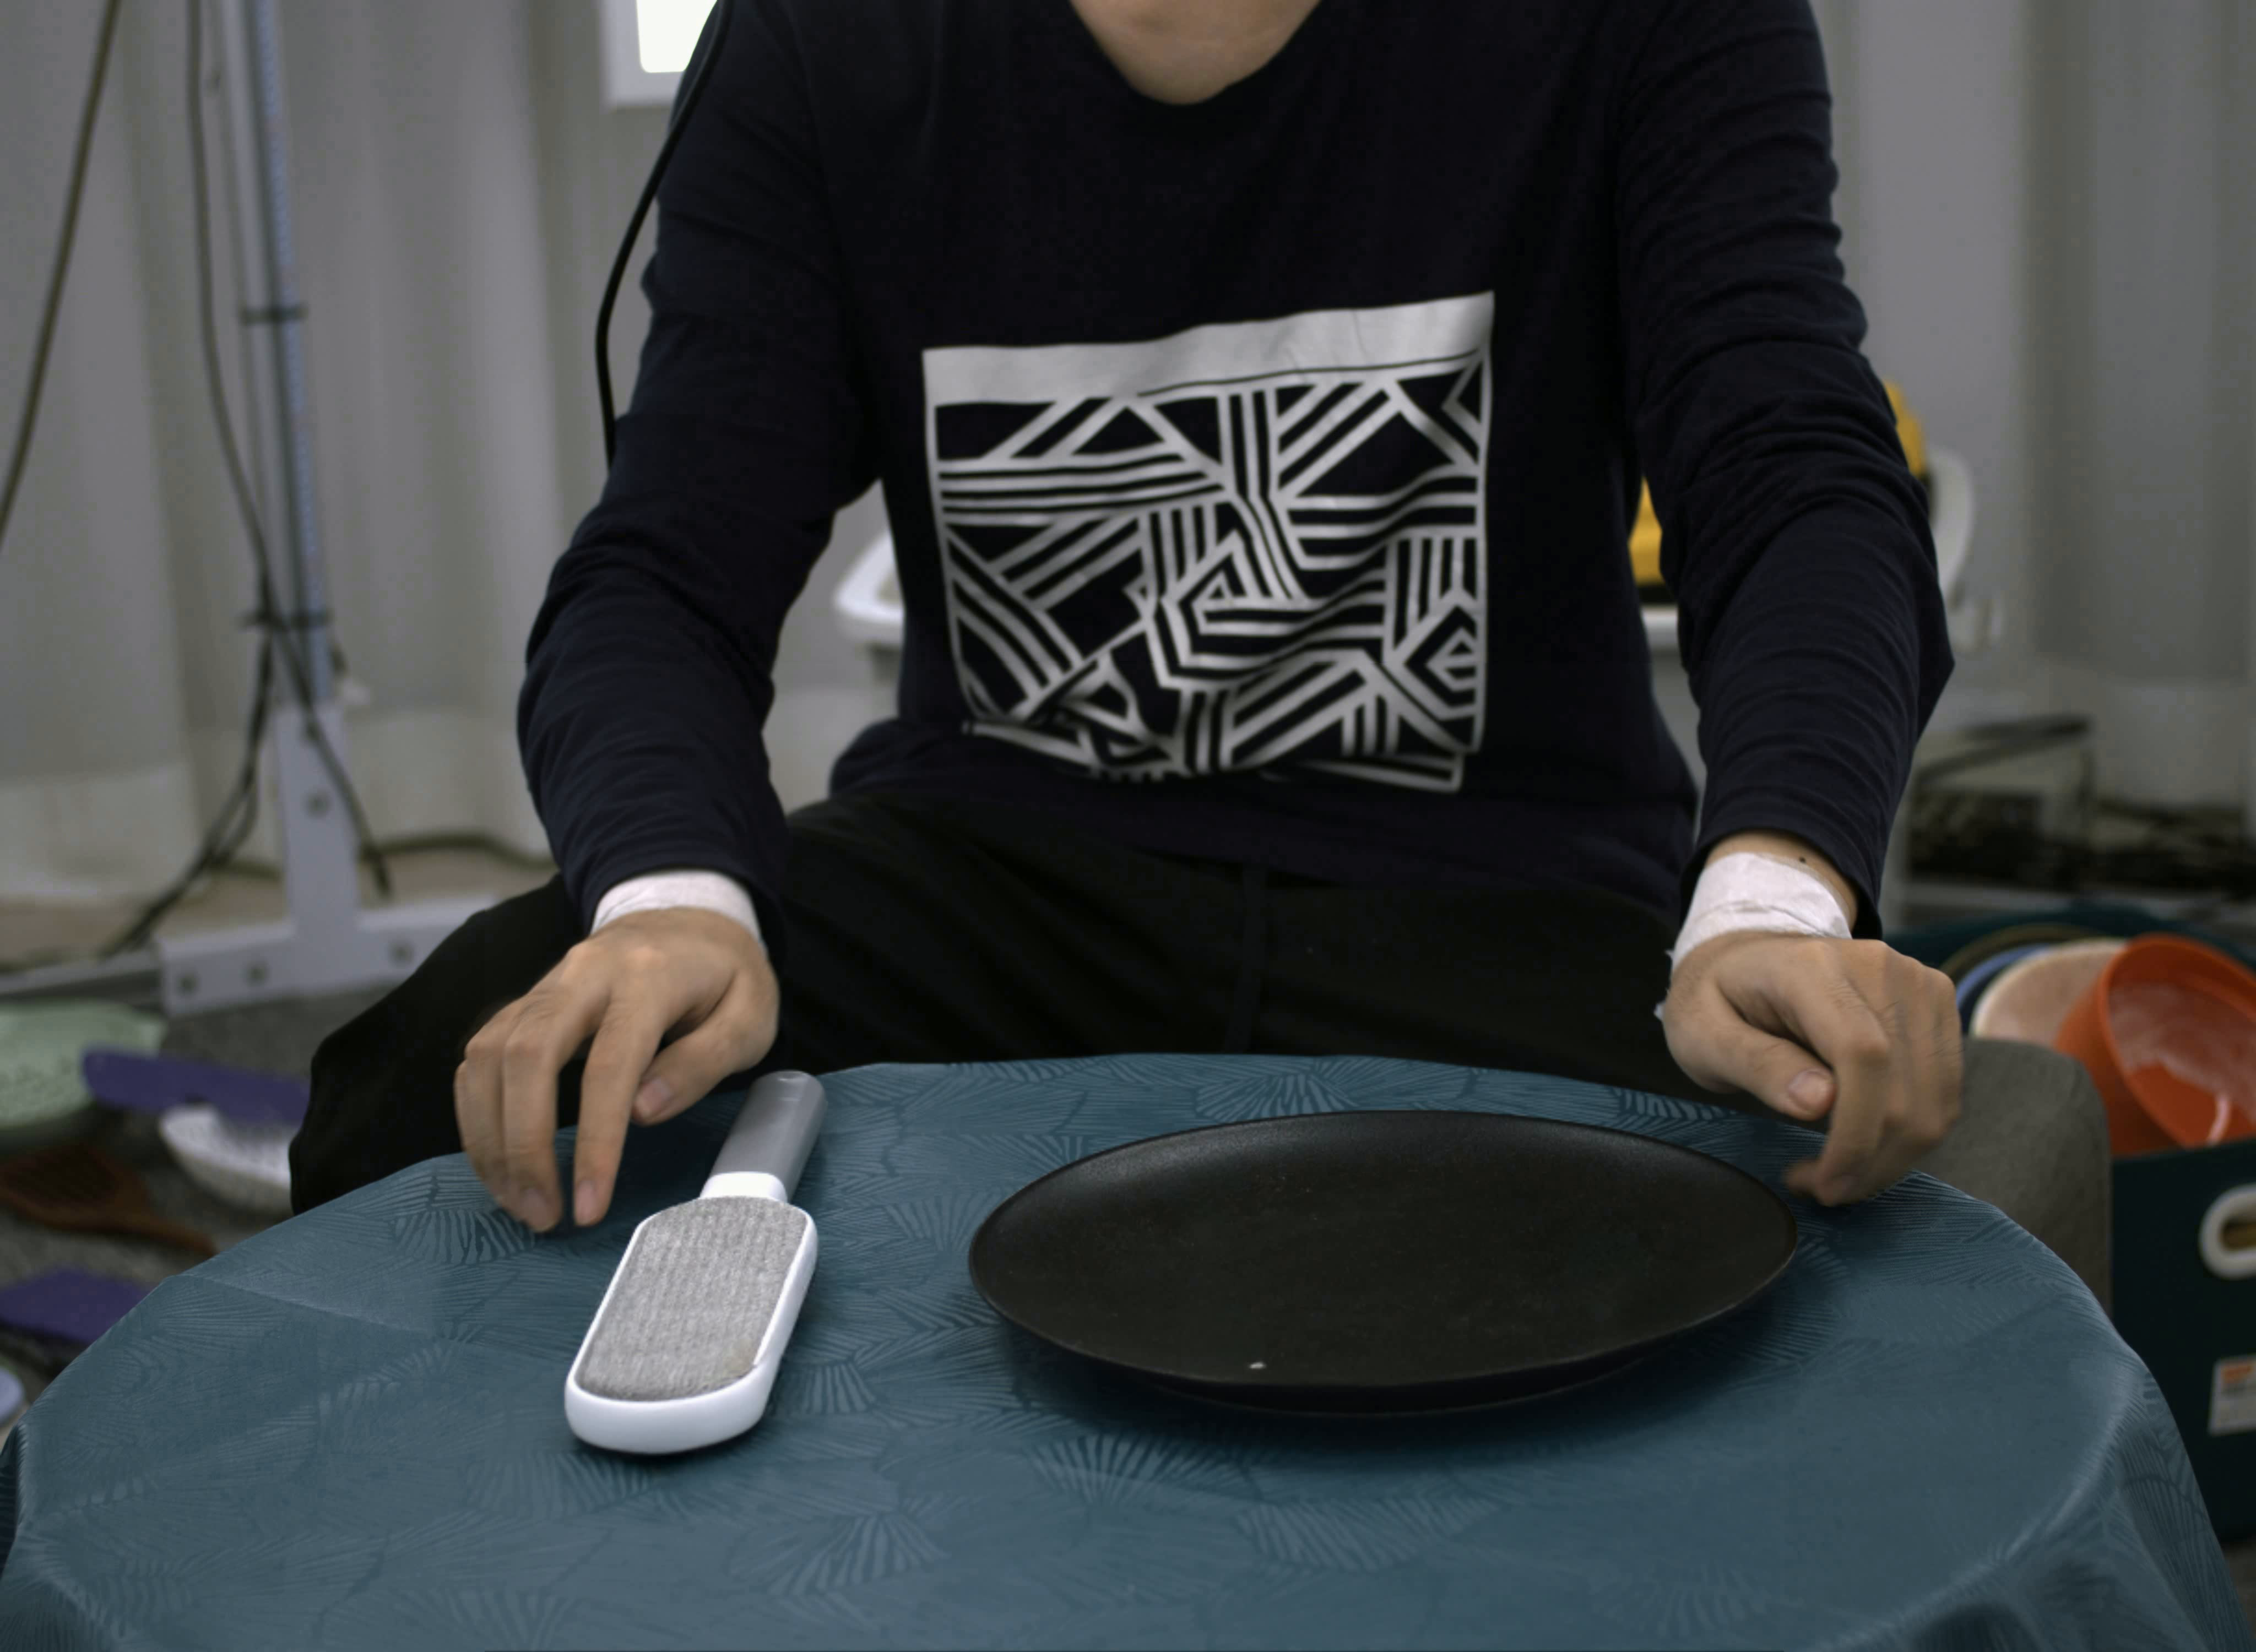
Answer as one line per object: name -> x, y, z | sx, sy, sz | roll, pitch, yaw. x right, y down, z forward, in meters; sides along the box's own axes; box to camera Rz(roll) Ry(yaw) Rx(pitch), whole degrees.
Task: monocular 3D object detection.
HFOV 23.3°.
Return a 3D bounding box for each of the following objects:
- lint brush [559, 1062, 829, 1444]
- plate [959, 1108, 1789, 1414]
lint brush -> -0.120, 0.125, 1.650 | 0.060, 0.021, 0.311 | -7, 14, 6
plate -> 0.072, 0.130, 1.602 | 0.243, 0.023, 0.246 | -3, 15, 0
